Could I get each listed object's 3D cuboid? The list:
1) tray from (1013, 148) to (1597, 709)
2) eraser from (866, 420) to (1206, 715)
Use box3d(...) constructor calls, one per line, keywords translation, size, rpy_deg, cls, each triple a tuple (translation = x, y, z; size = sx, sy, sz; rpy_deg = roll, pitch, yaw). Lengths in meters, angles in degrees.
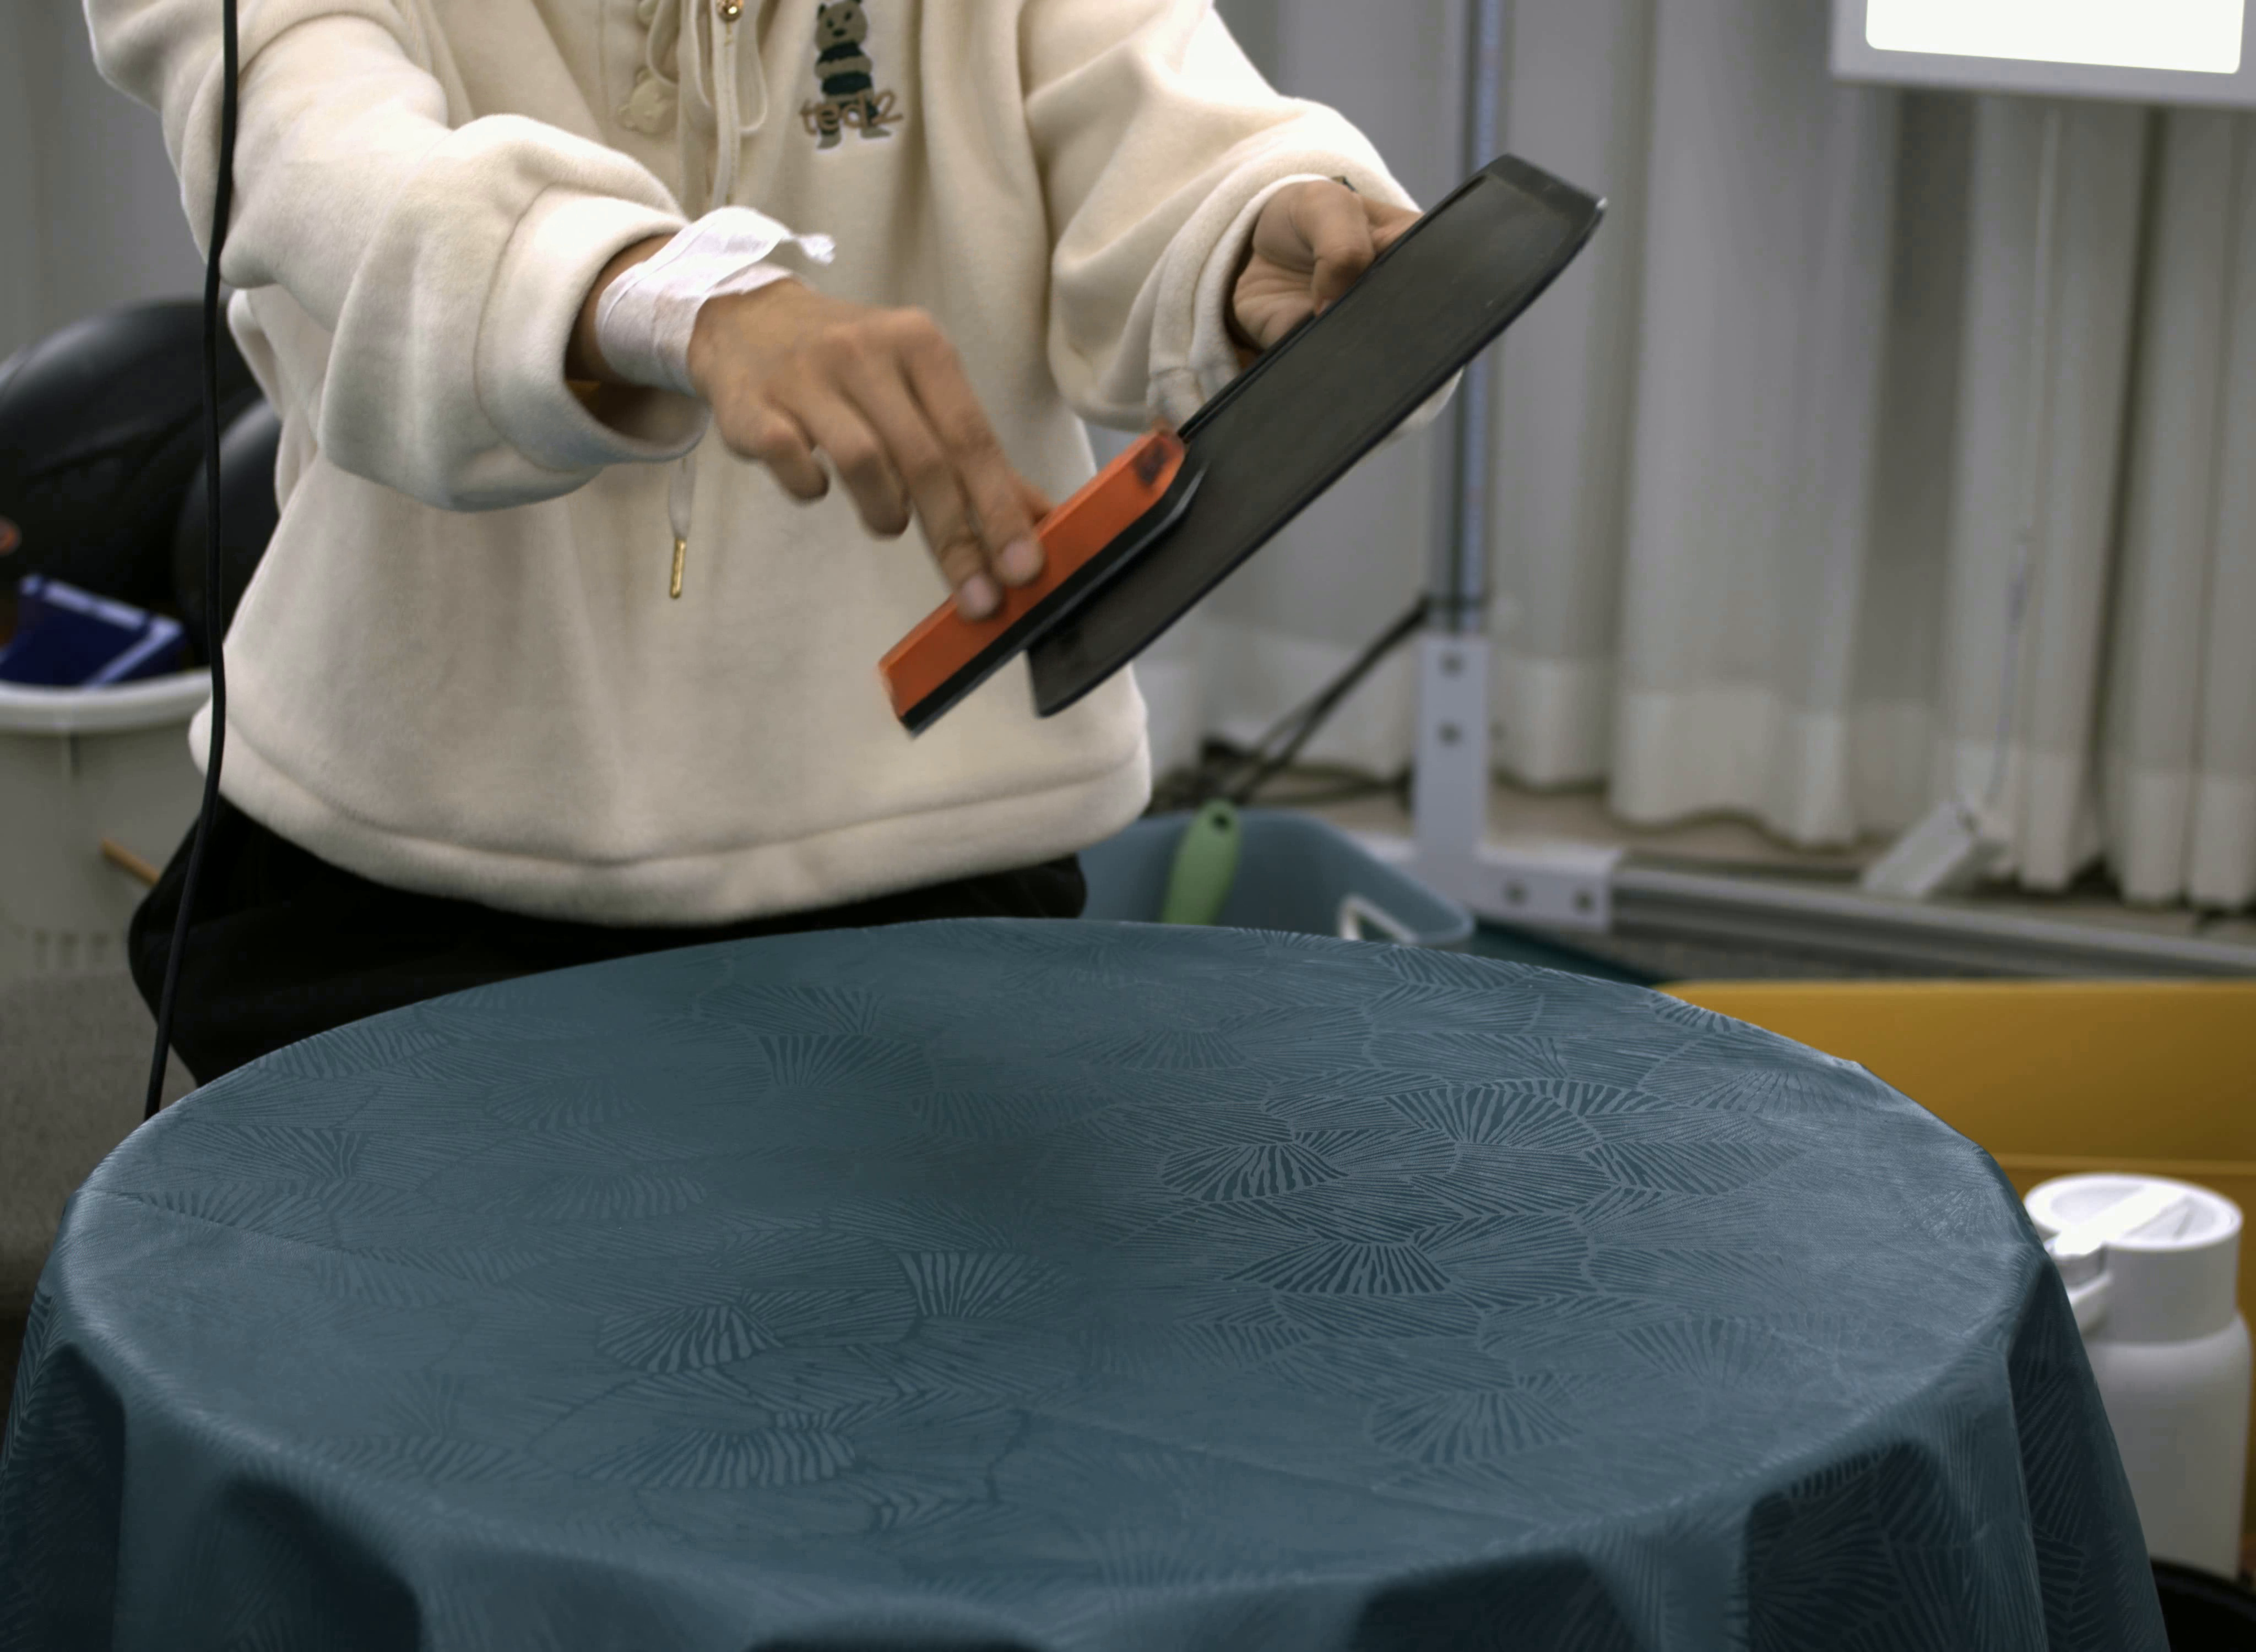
box3d(translation=(0.043, -0.123, 1.550), size=(0.211, 0.010, 0.324), rpy_deg=(-42, 9, 5), cls="tray")
box3d(translation=(-0.026, -0.076, 1.551), size=(0.108, 0.023, 0.059), rpy_deg=(-38, 3, 16), cls="eraser")
